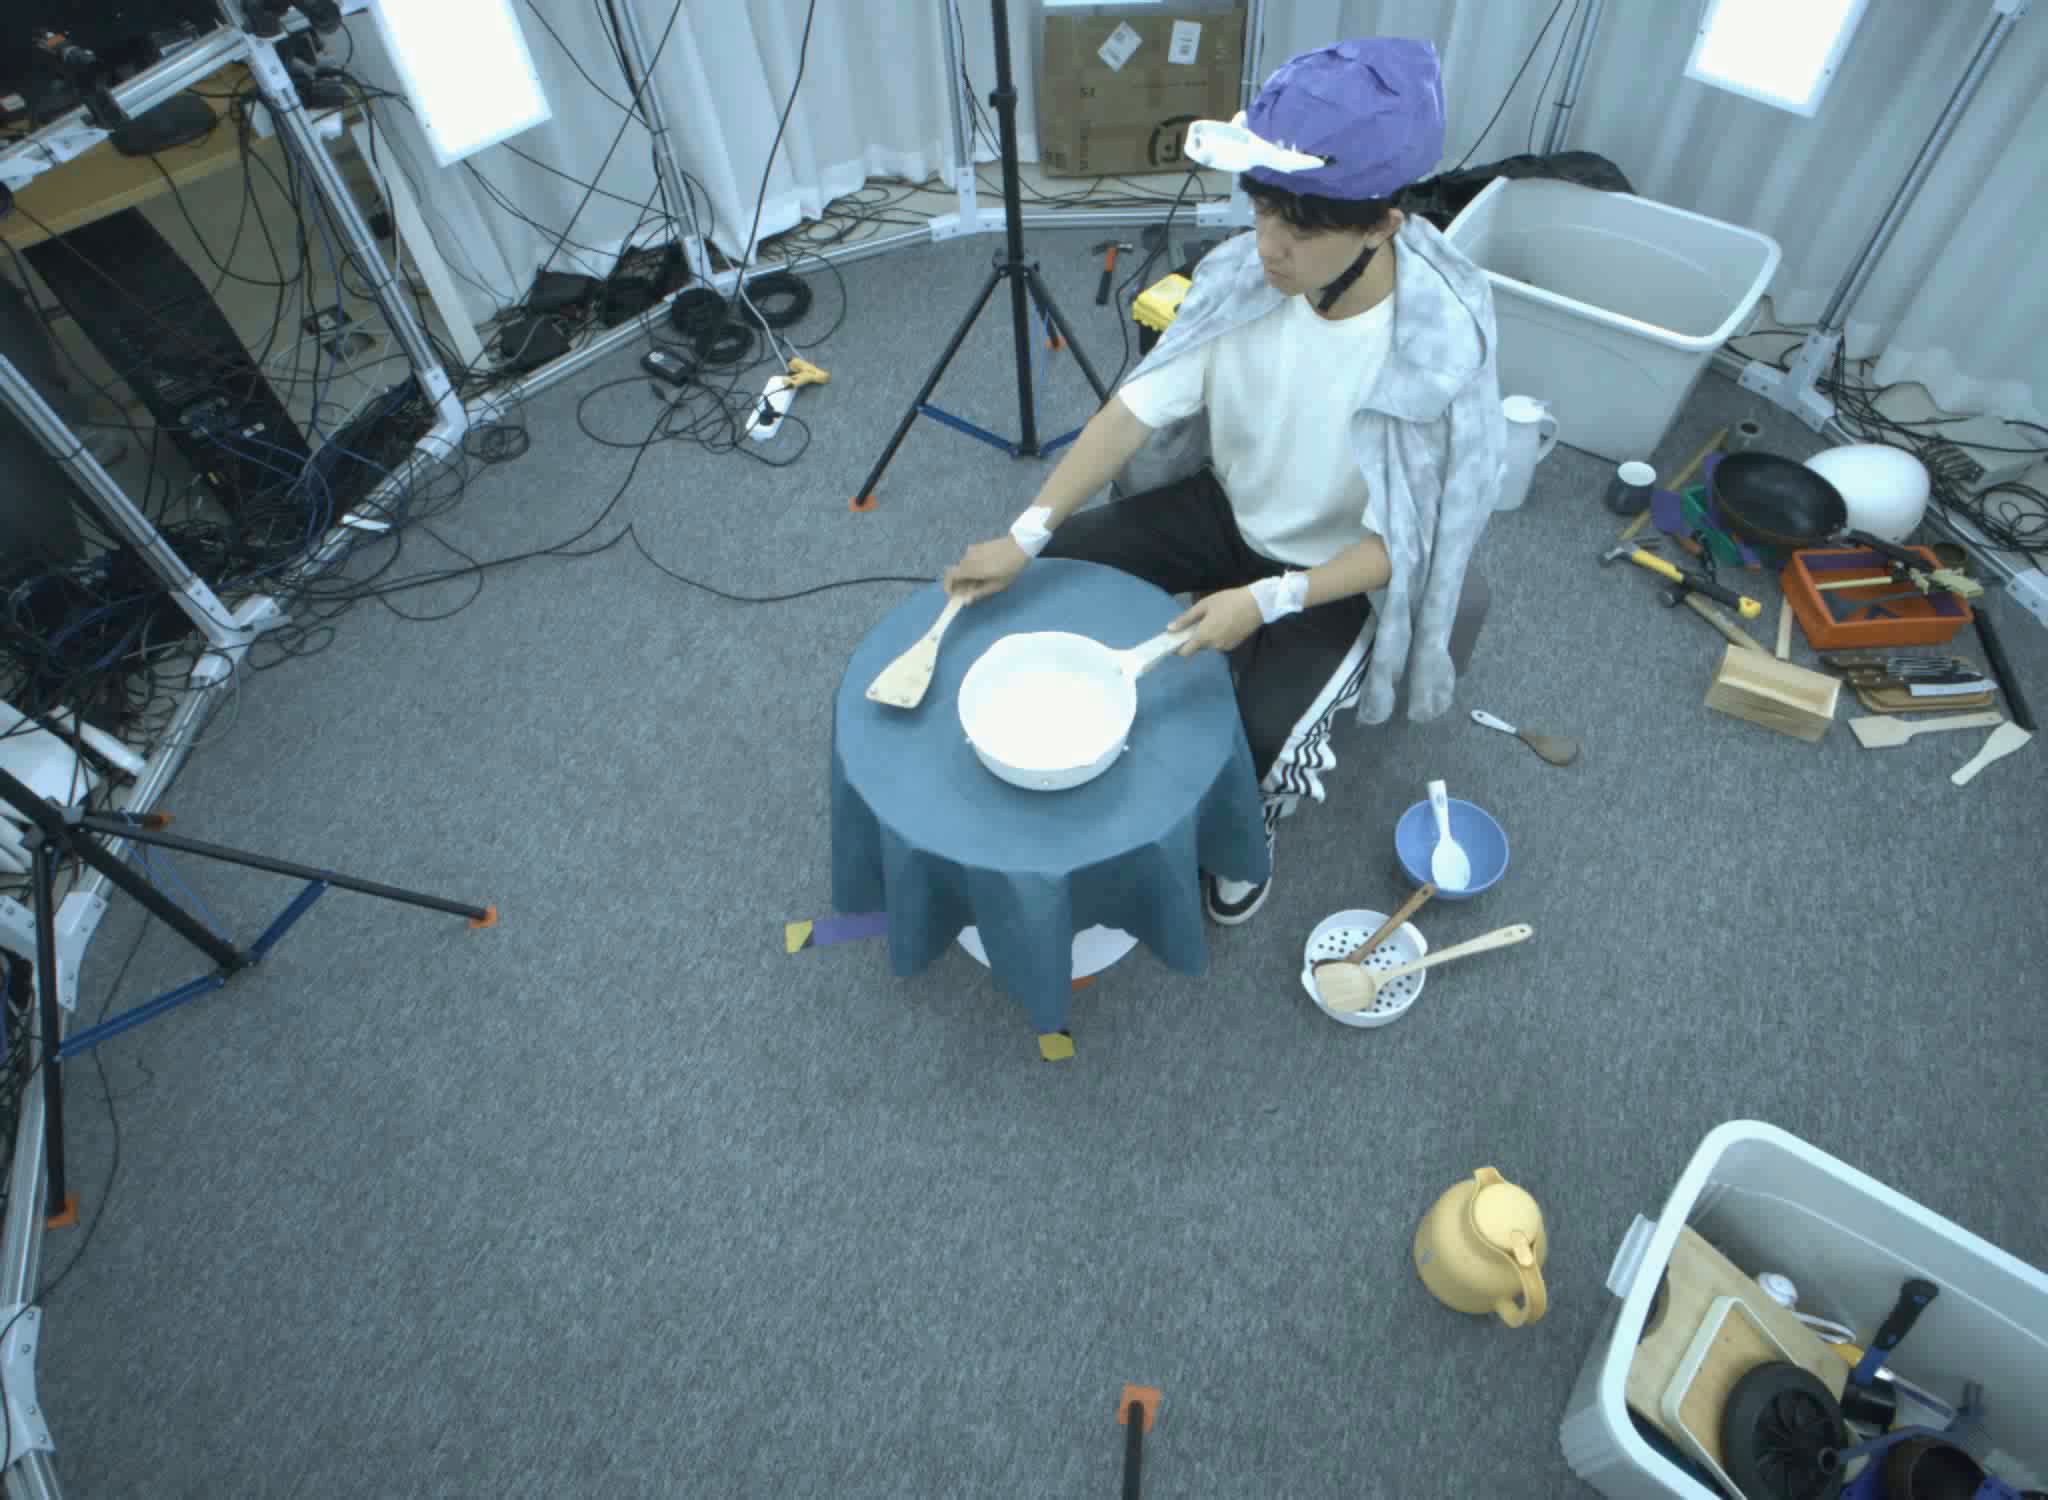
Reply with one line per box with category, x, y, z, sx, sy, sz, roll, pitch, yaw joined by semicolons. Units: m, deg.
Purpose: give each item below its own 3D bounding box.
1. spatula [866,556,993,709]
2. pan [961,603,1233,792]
spatula;-0.130;-0.185;1.880;0.079;0.016;0.328;23;62;13
pan;0.118;-0.090;1.787;0.438;0.103;0.258;-25;56;-15
